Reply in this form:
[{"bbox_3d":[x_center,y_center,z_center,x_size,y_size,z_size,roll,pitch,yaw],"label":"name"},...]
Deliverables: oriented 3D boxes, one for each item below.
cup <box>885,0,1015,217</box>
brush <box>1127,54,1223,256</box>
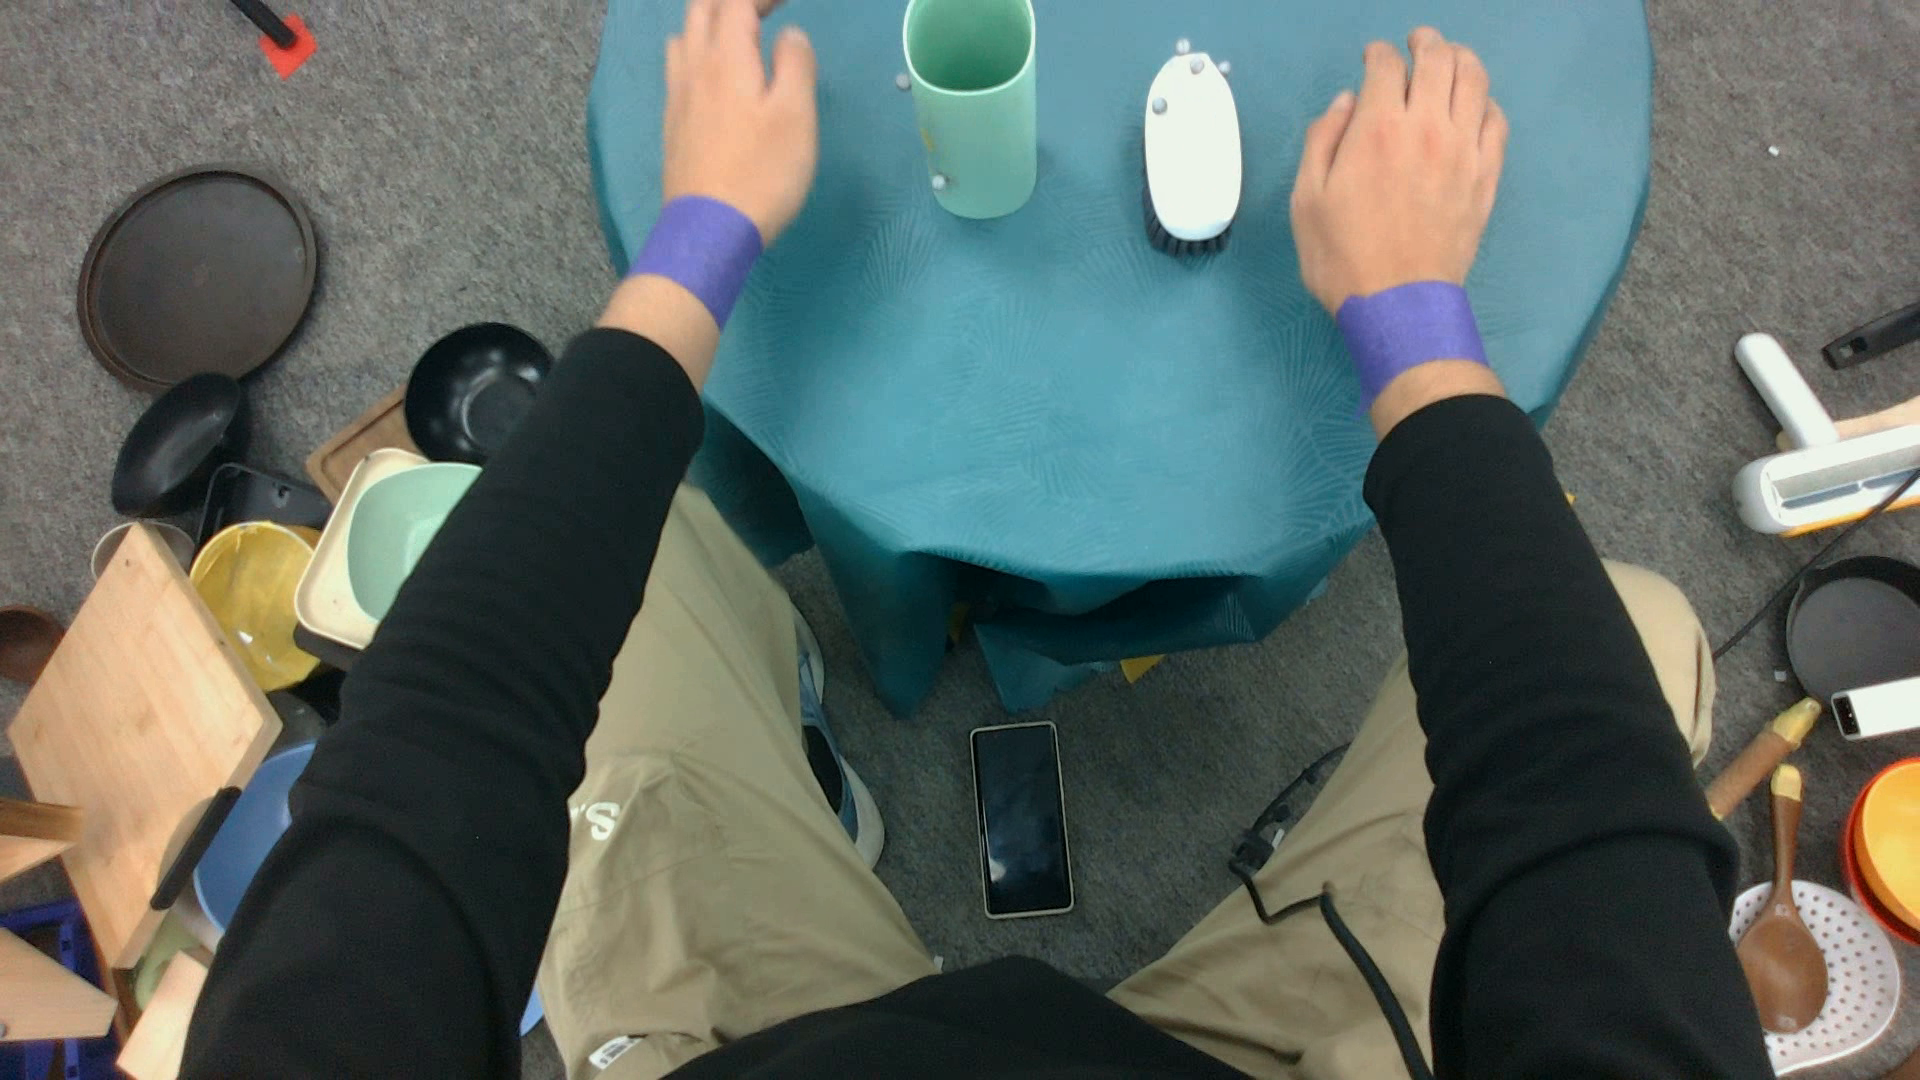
[{"bbox_3d":[0.000,-0.226,0.721,0.067,0.132,0.067,-1,77,2],"label":"cup"},{"bbox_3d":[0.116,-0.212,0.737,0.050,0.072,0.099,-1,76,4],"label":"brush"}]
